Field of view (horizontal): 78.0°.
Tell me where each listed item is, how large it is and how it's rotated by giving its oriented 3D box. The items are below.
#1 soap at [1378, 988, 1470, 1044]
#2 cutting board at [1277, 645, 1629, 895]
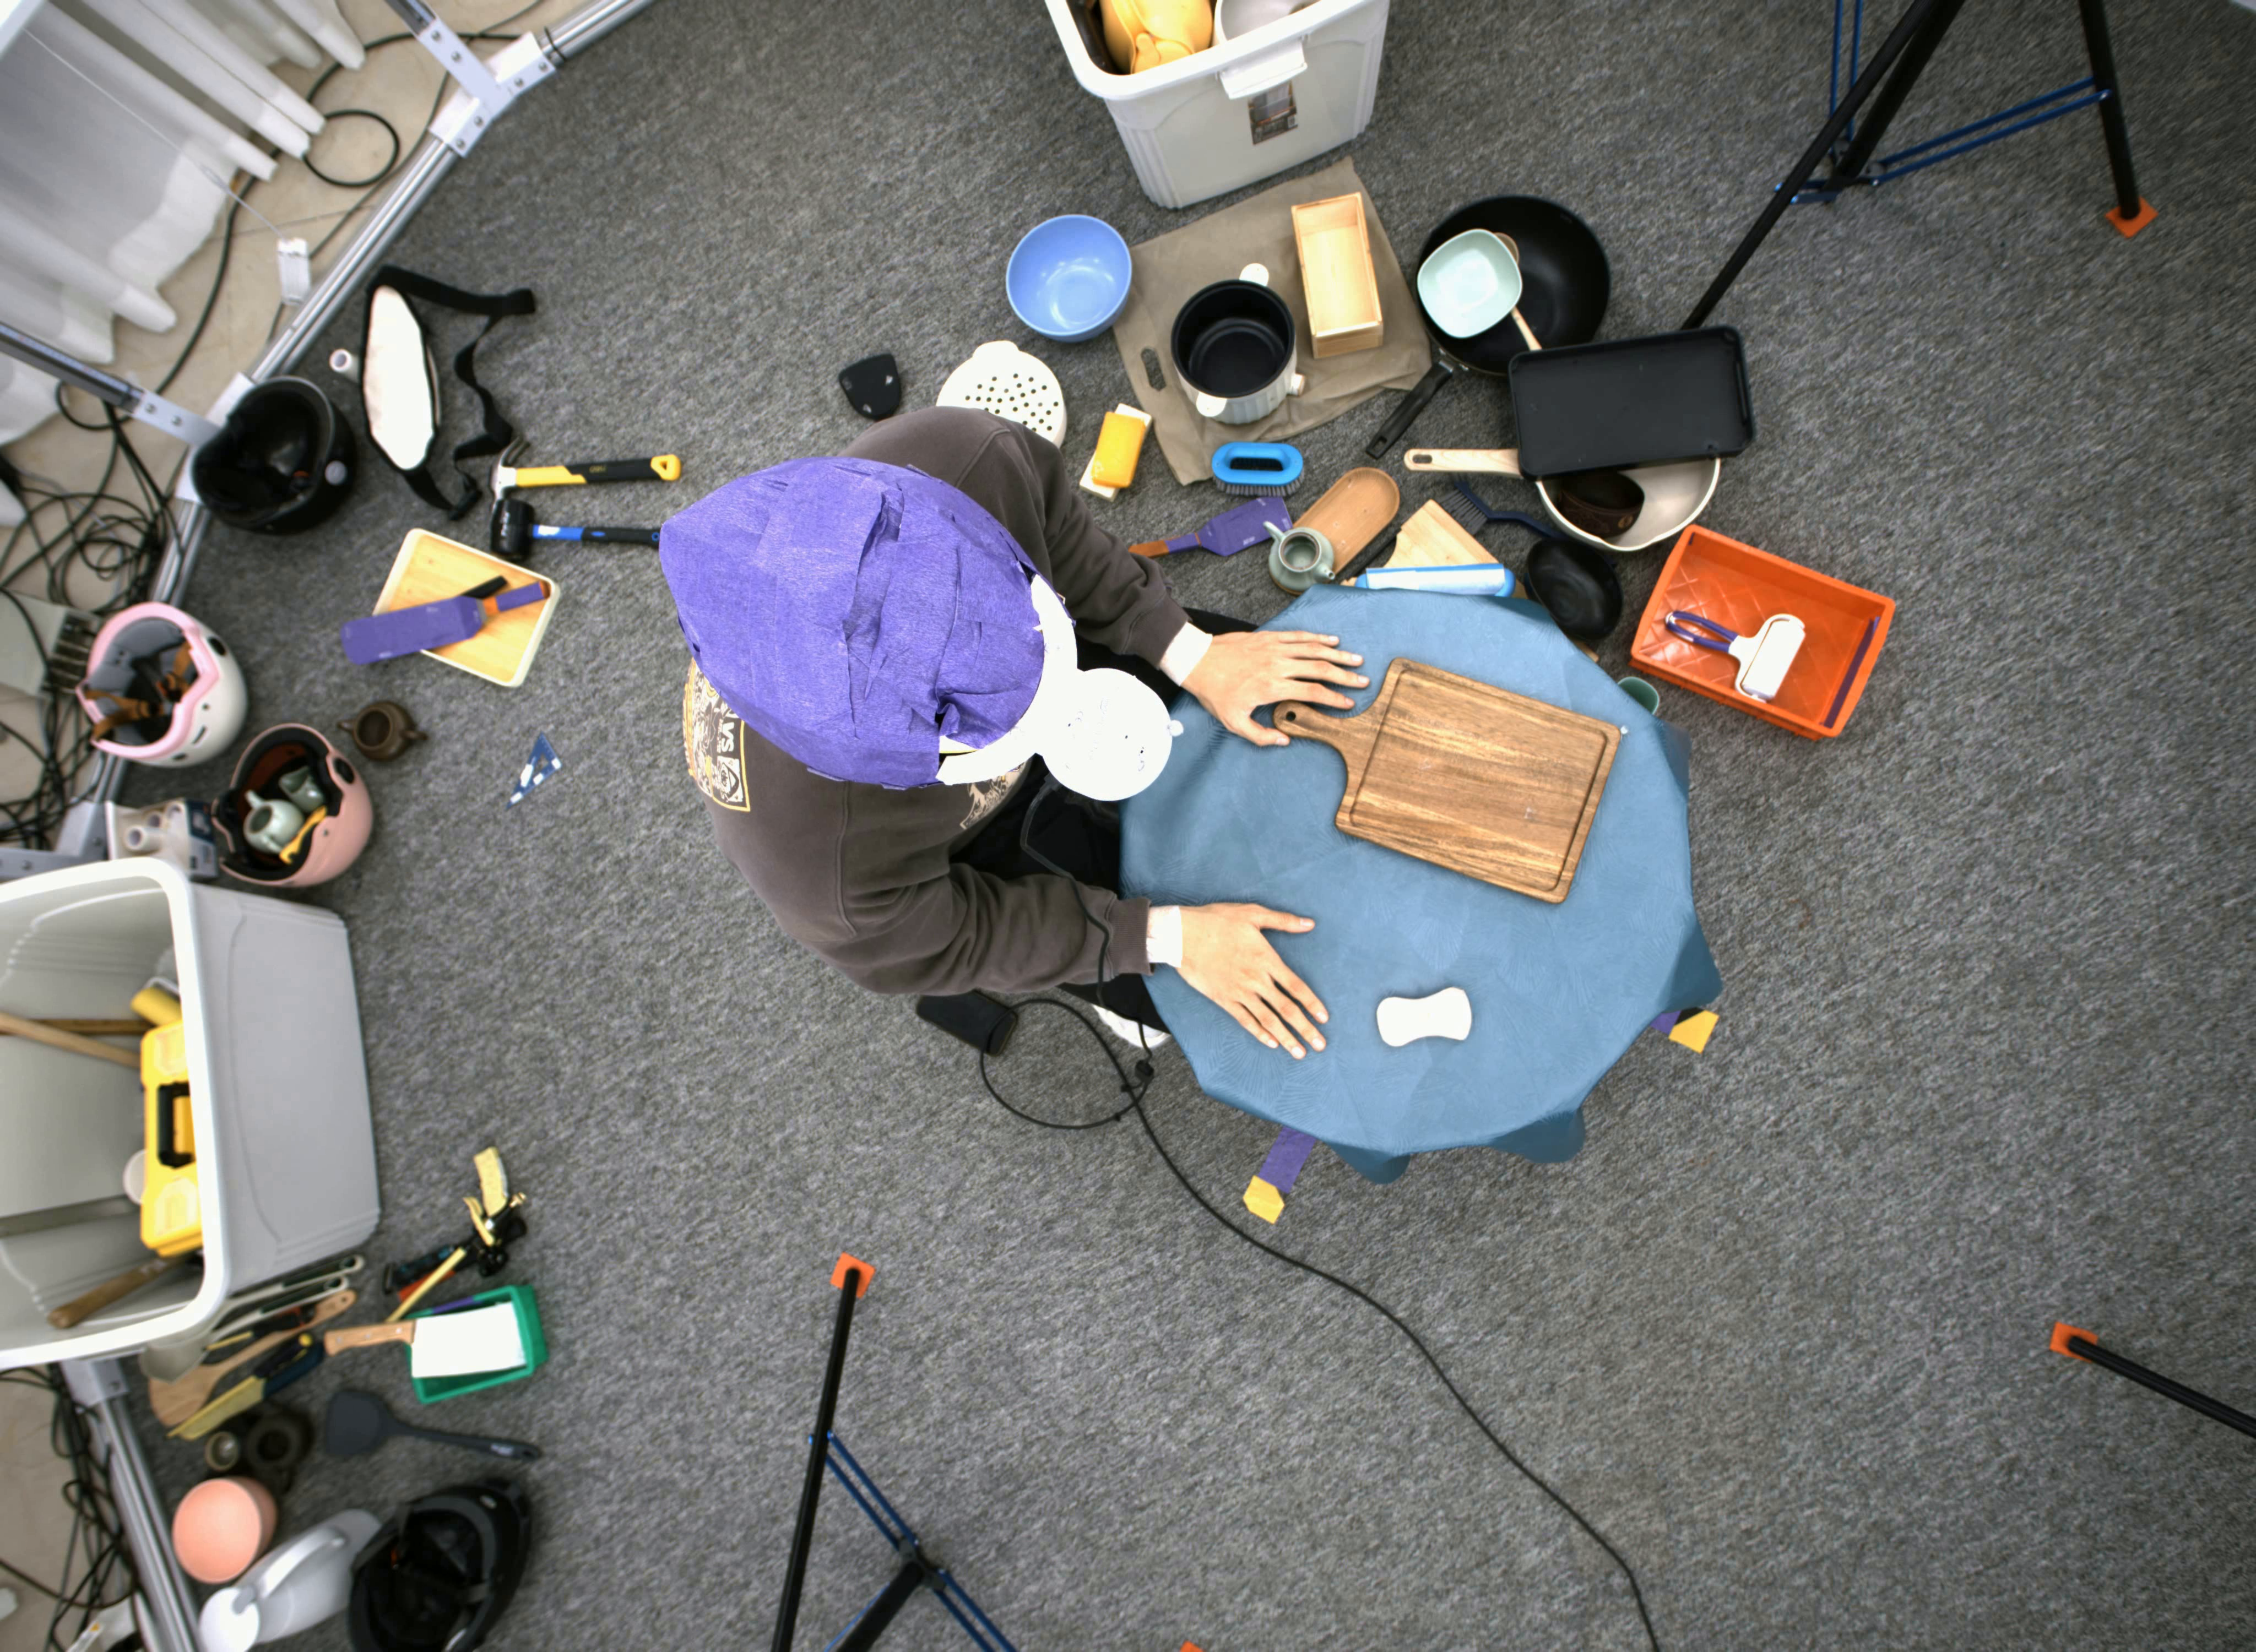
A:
[{"bbox_3d":[0.306,0.195,1.431,0.095,0.030,0.050,-9,84,11],"label":"soap"},{"bbox_3d":[0.325,-0.079,1.444,0.352,0.023,0.201,20,91,11],"label":"cutting board"}]
